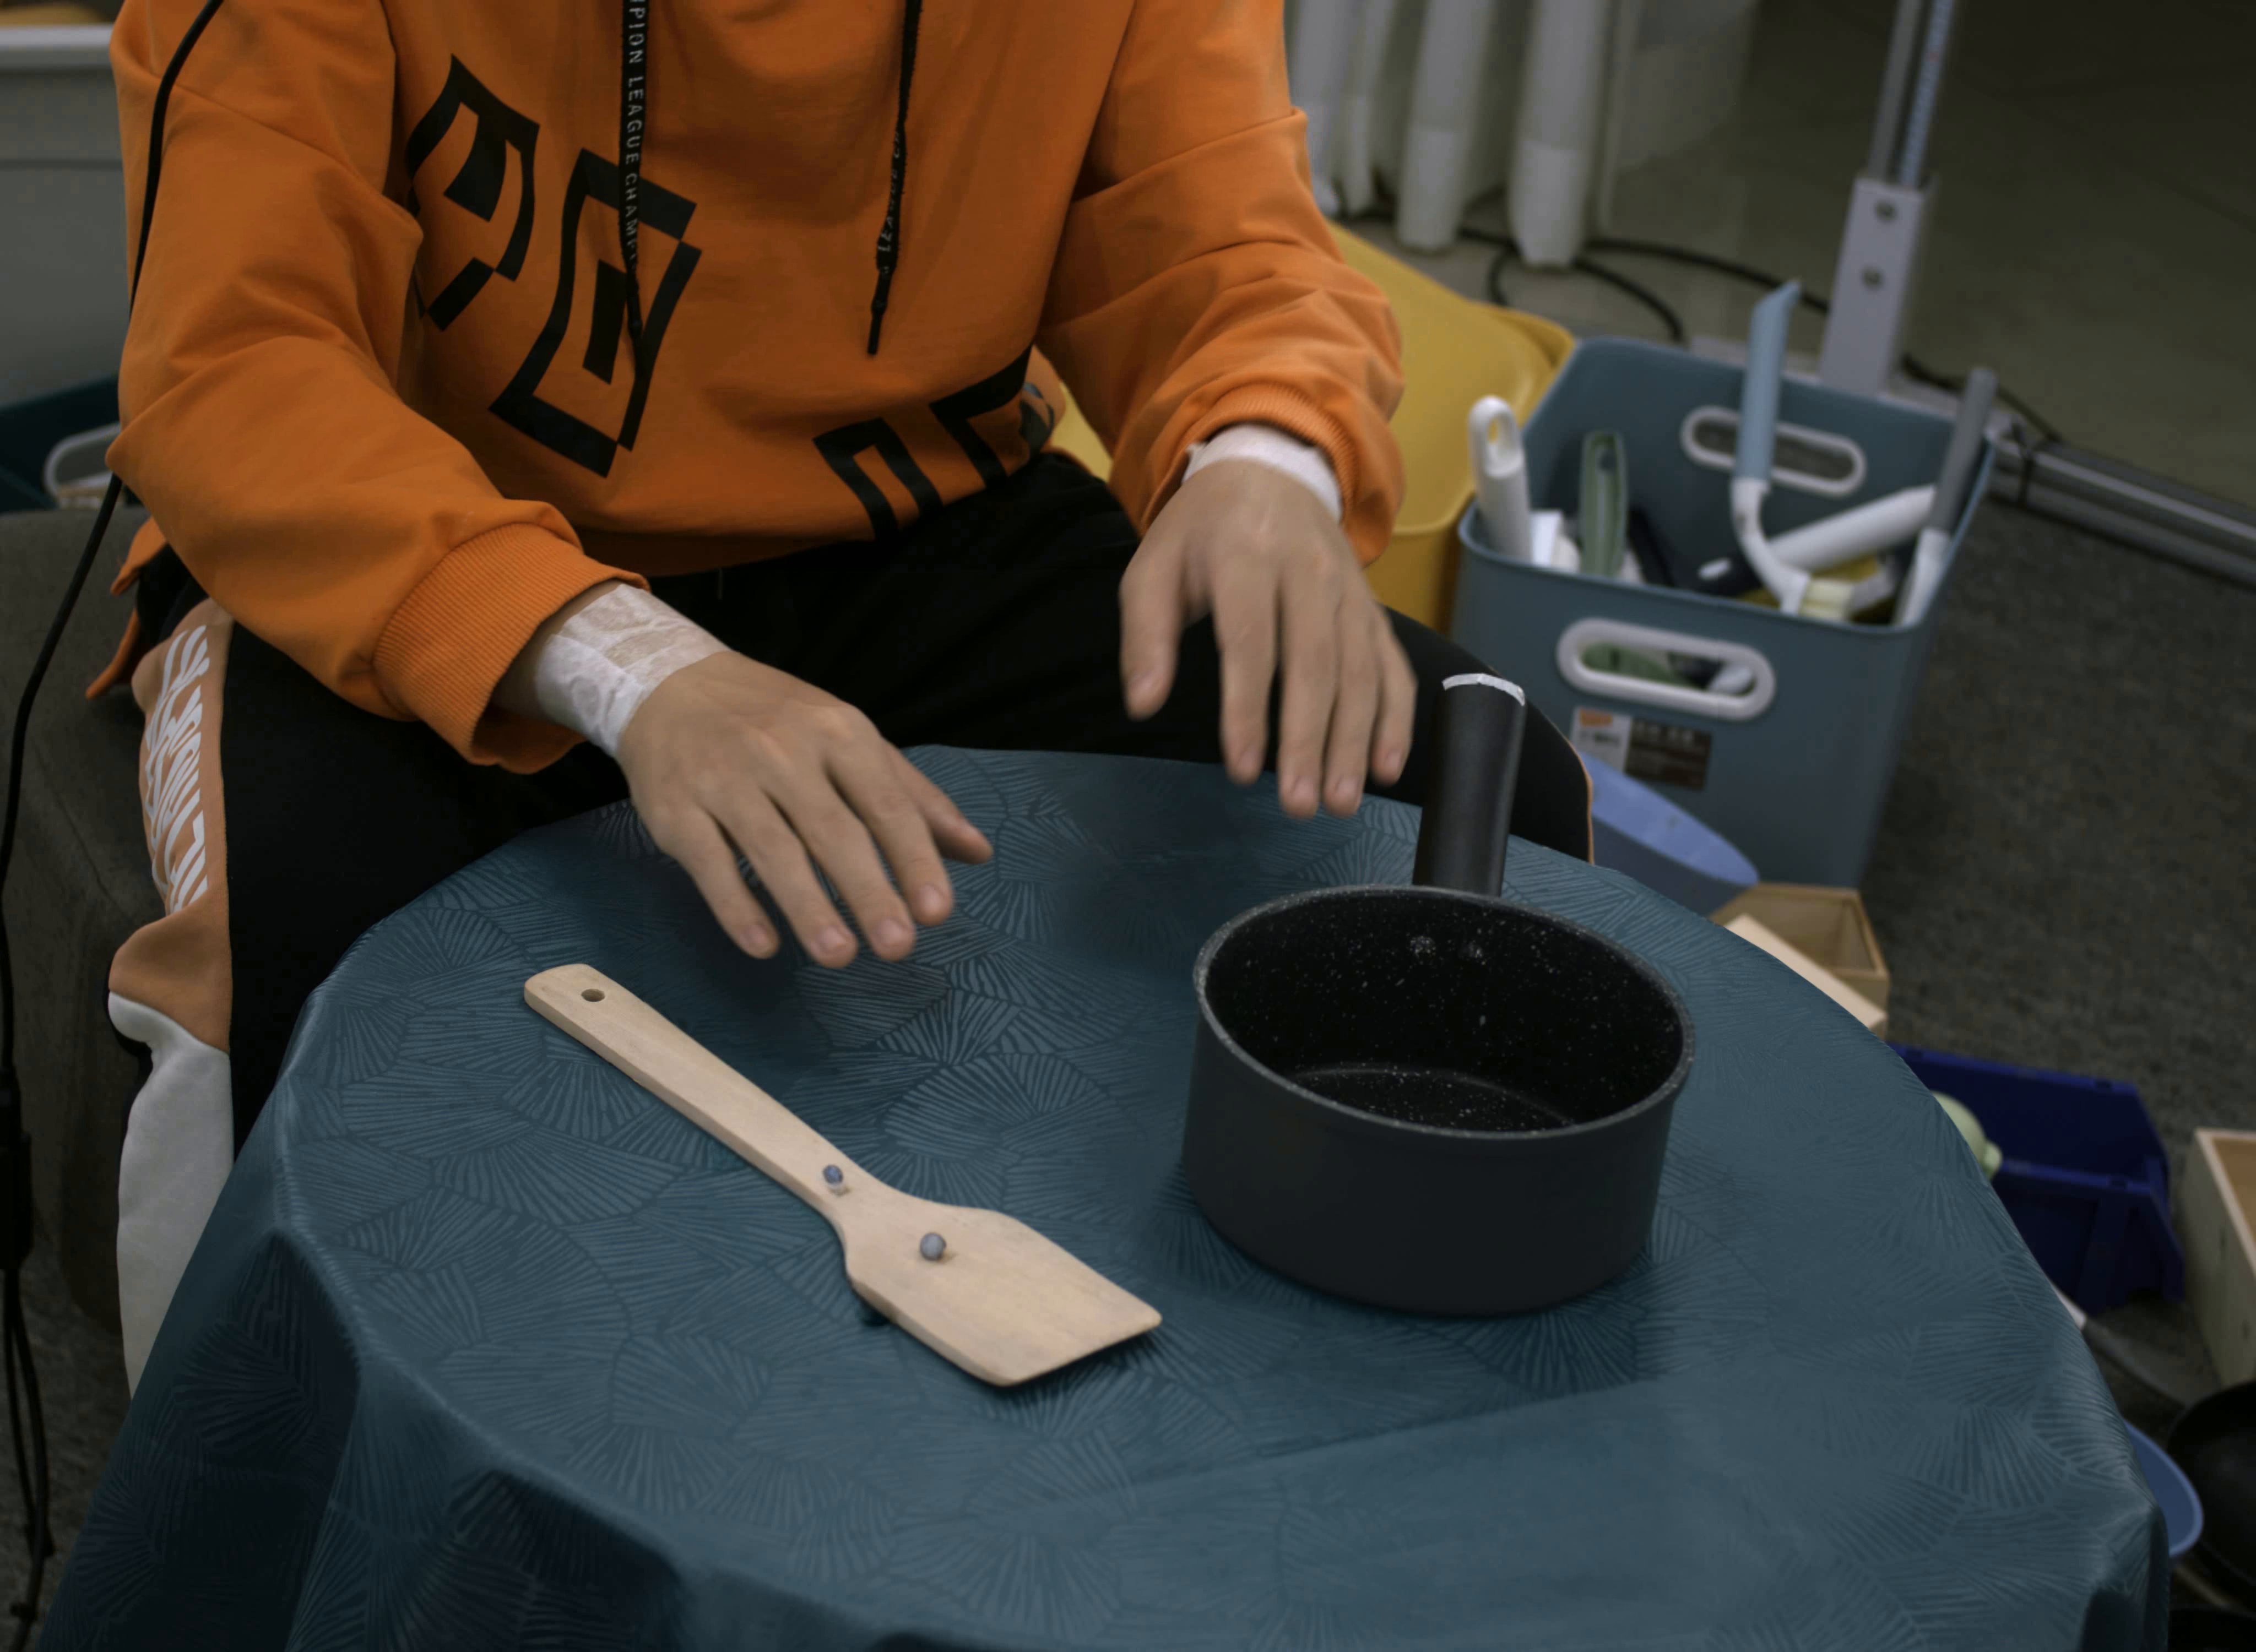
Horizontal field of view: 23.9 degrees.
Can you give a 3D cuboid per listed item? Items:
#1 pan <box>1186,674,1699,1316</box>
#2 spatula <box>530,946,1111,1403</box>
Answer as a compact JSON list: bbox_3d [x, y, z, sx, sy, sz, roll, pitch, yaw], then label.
[{"bbox_3d":[0.115,0.055,1.871,0.172,0.086,0.330,10,29,5],"label":"pan"},{"bbox_3d":[-0.118,0.112,1.796,0.072,0.010,0.295,-17,37,-33],"label":"spatula"}]
